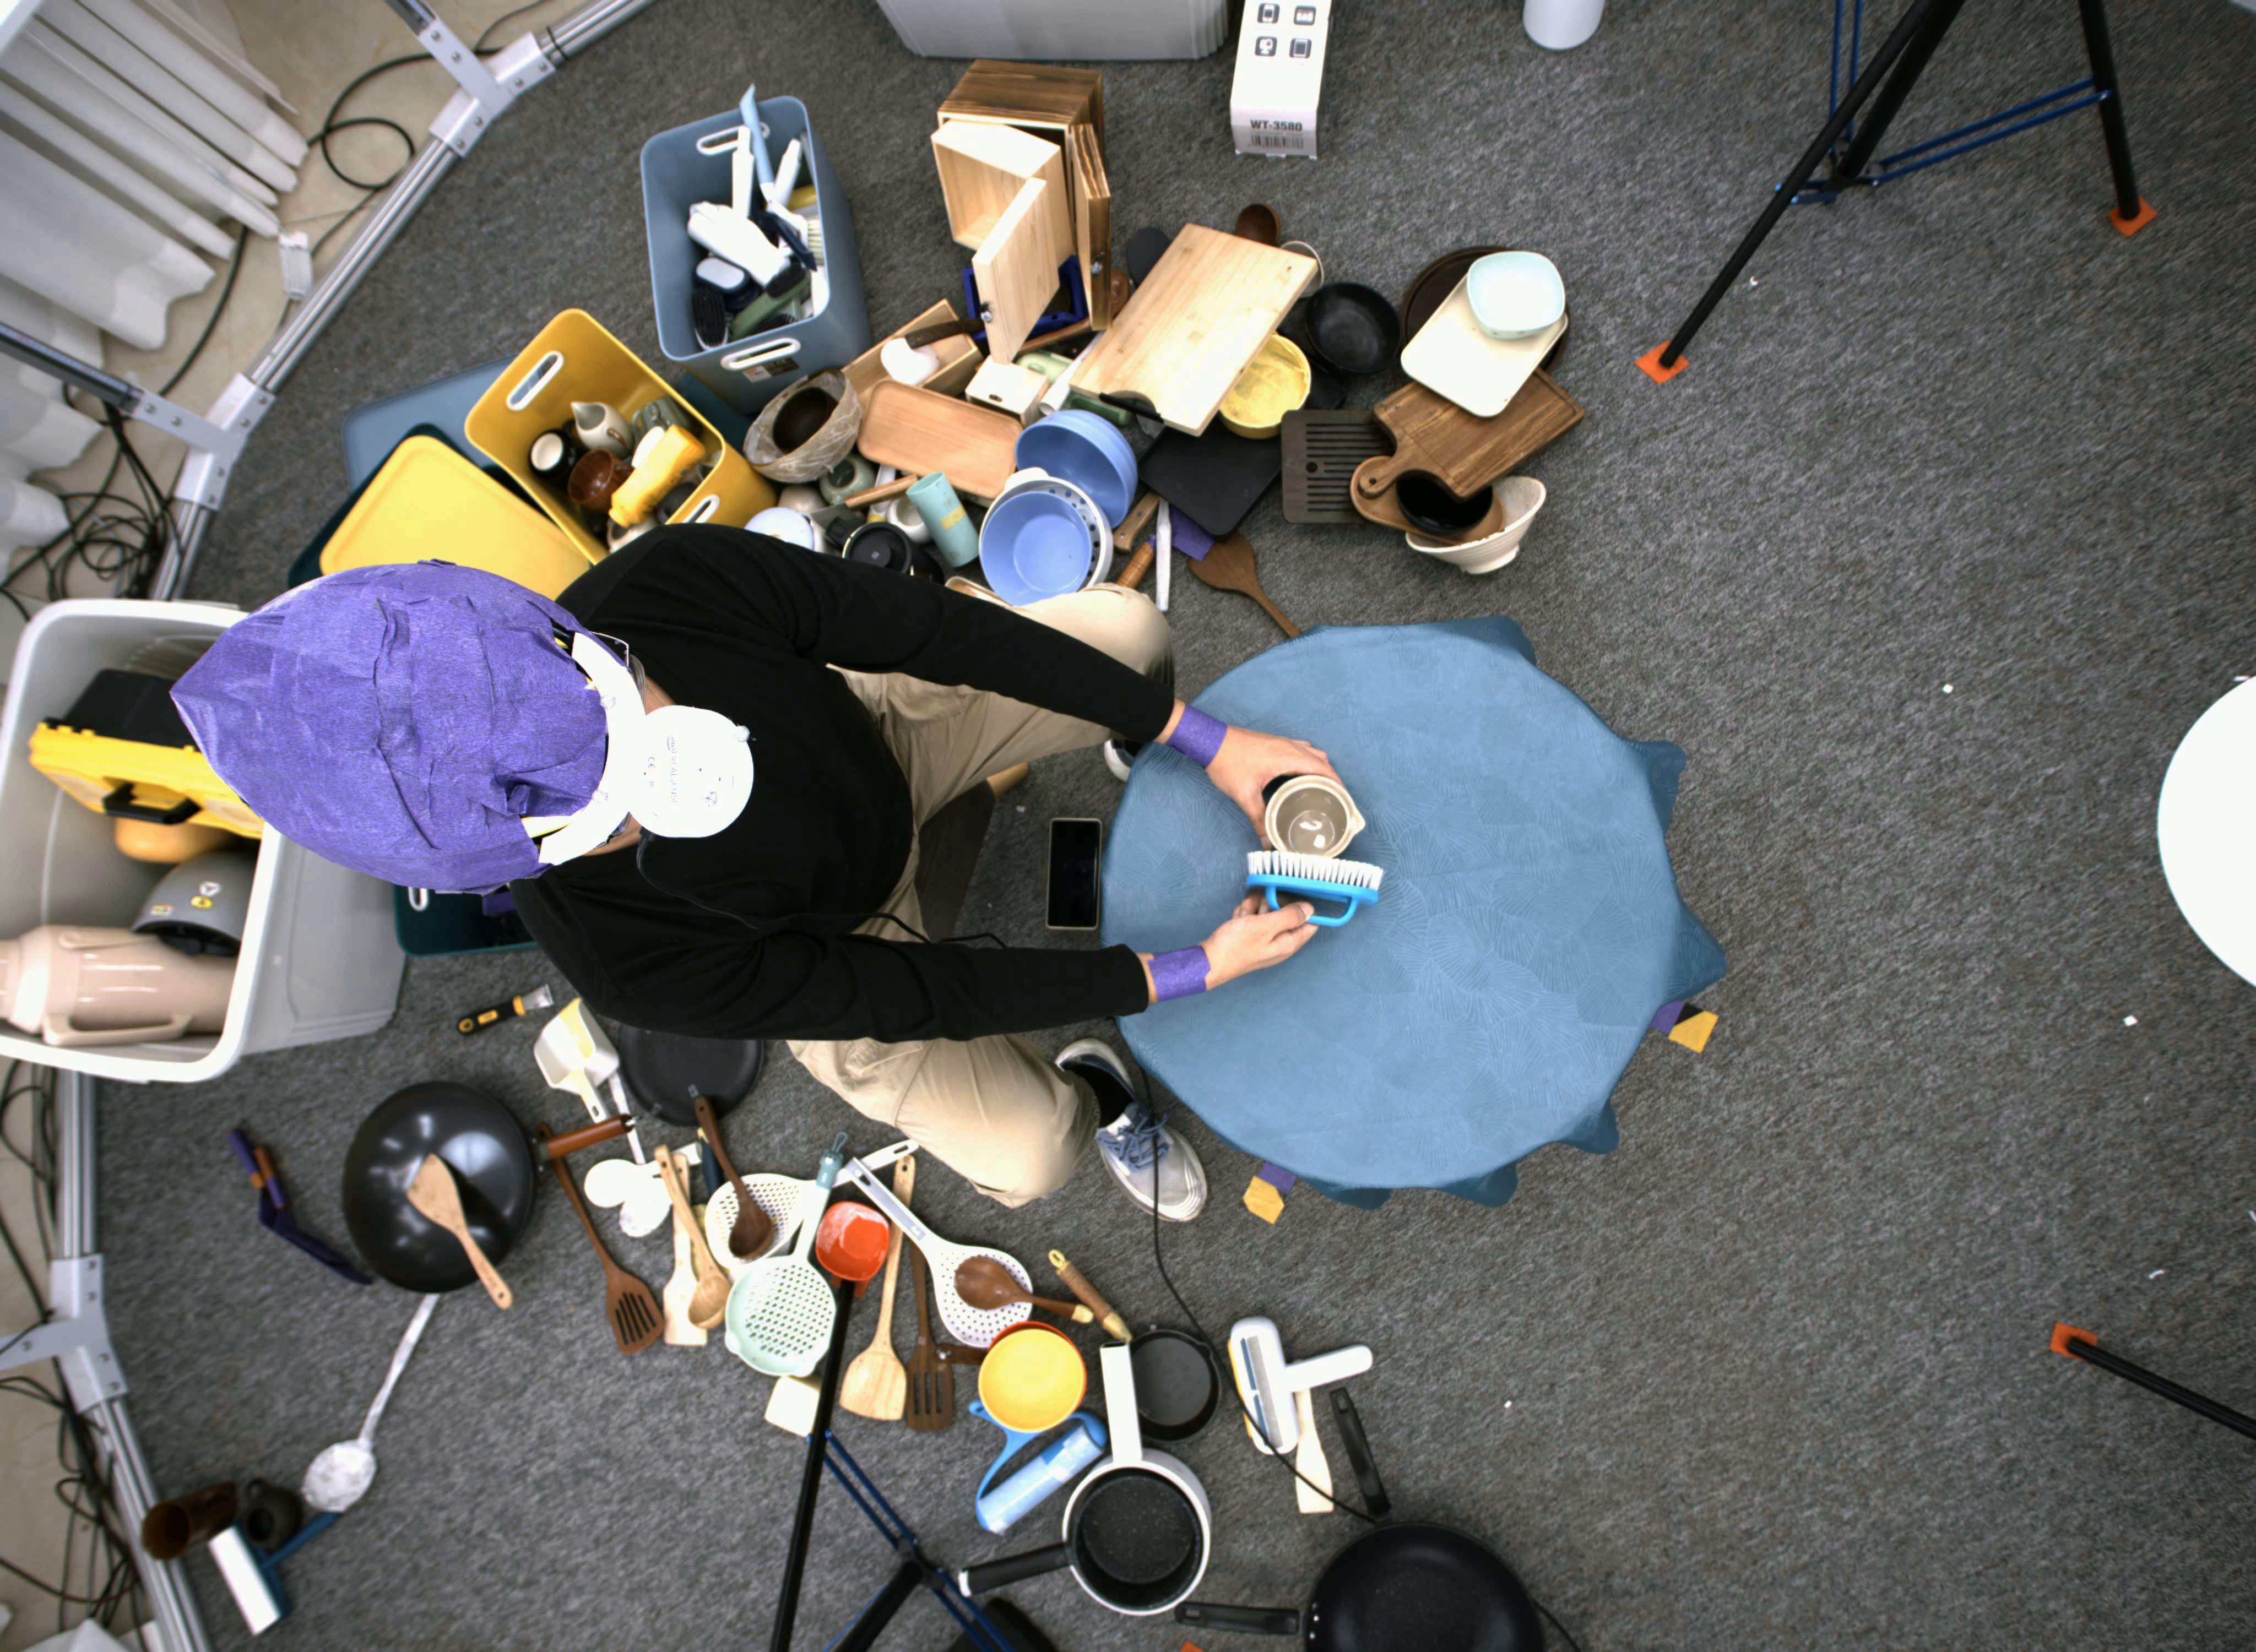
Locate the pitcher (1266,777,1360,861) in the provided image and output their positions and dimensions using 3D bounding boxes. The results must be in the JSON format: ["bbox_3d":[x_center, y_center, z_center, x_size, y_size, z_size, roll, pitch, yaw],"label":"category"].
[{"bbox_3d":[0.191,-0.003,1.437,0.096,0.072,0.083,11,79,8],"label":"pitcher"}]

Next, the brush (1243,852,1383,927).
[{"bbox_3d":[0.186,0.067,1.409,0.142,0.085,0.063,9,85,-5],"label":"brush"}]
